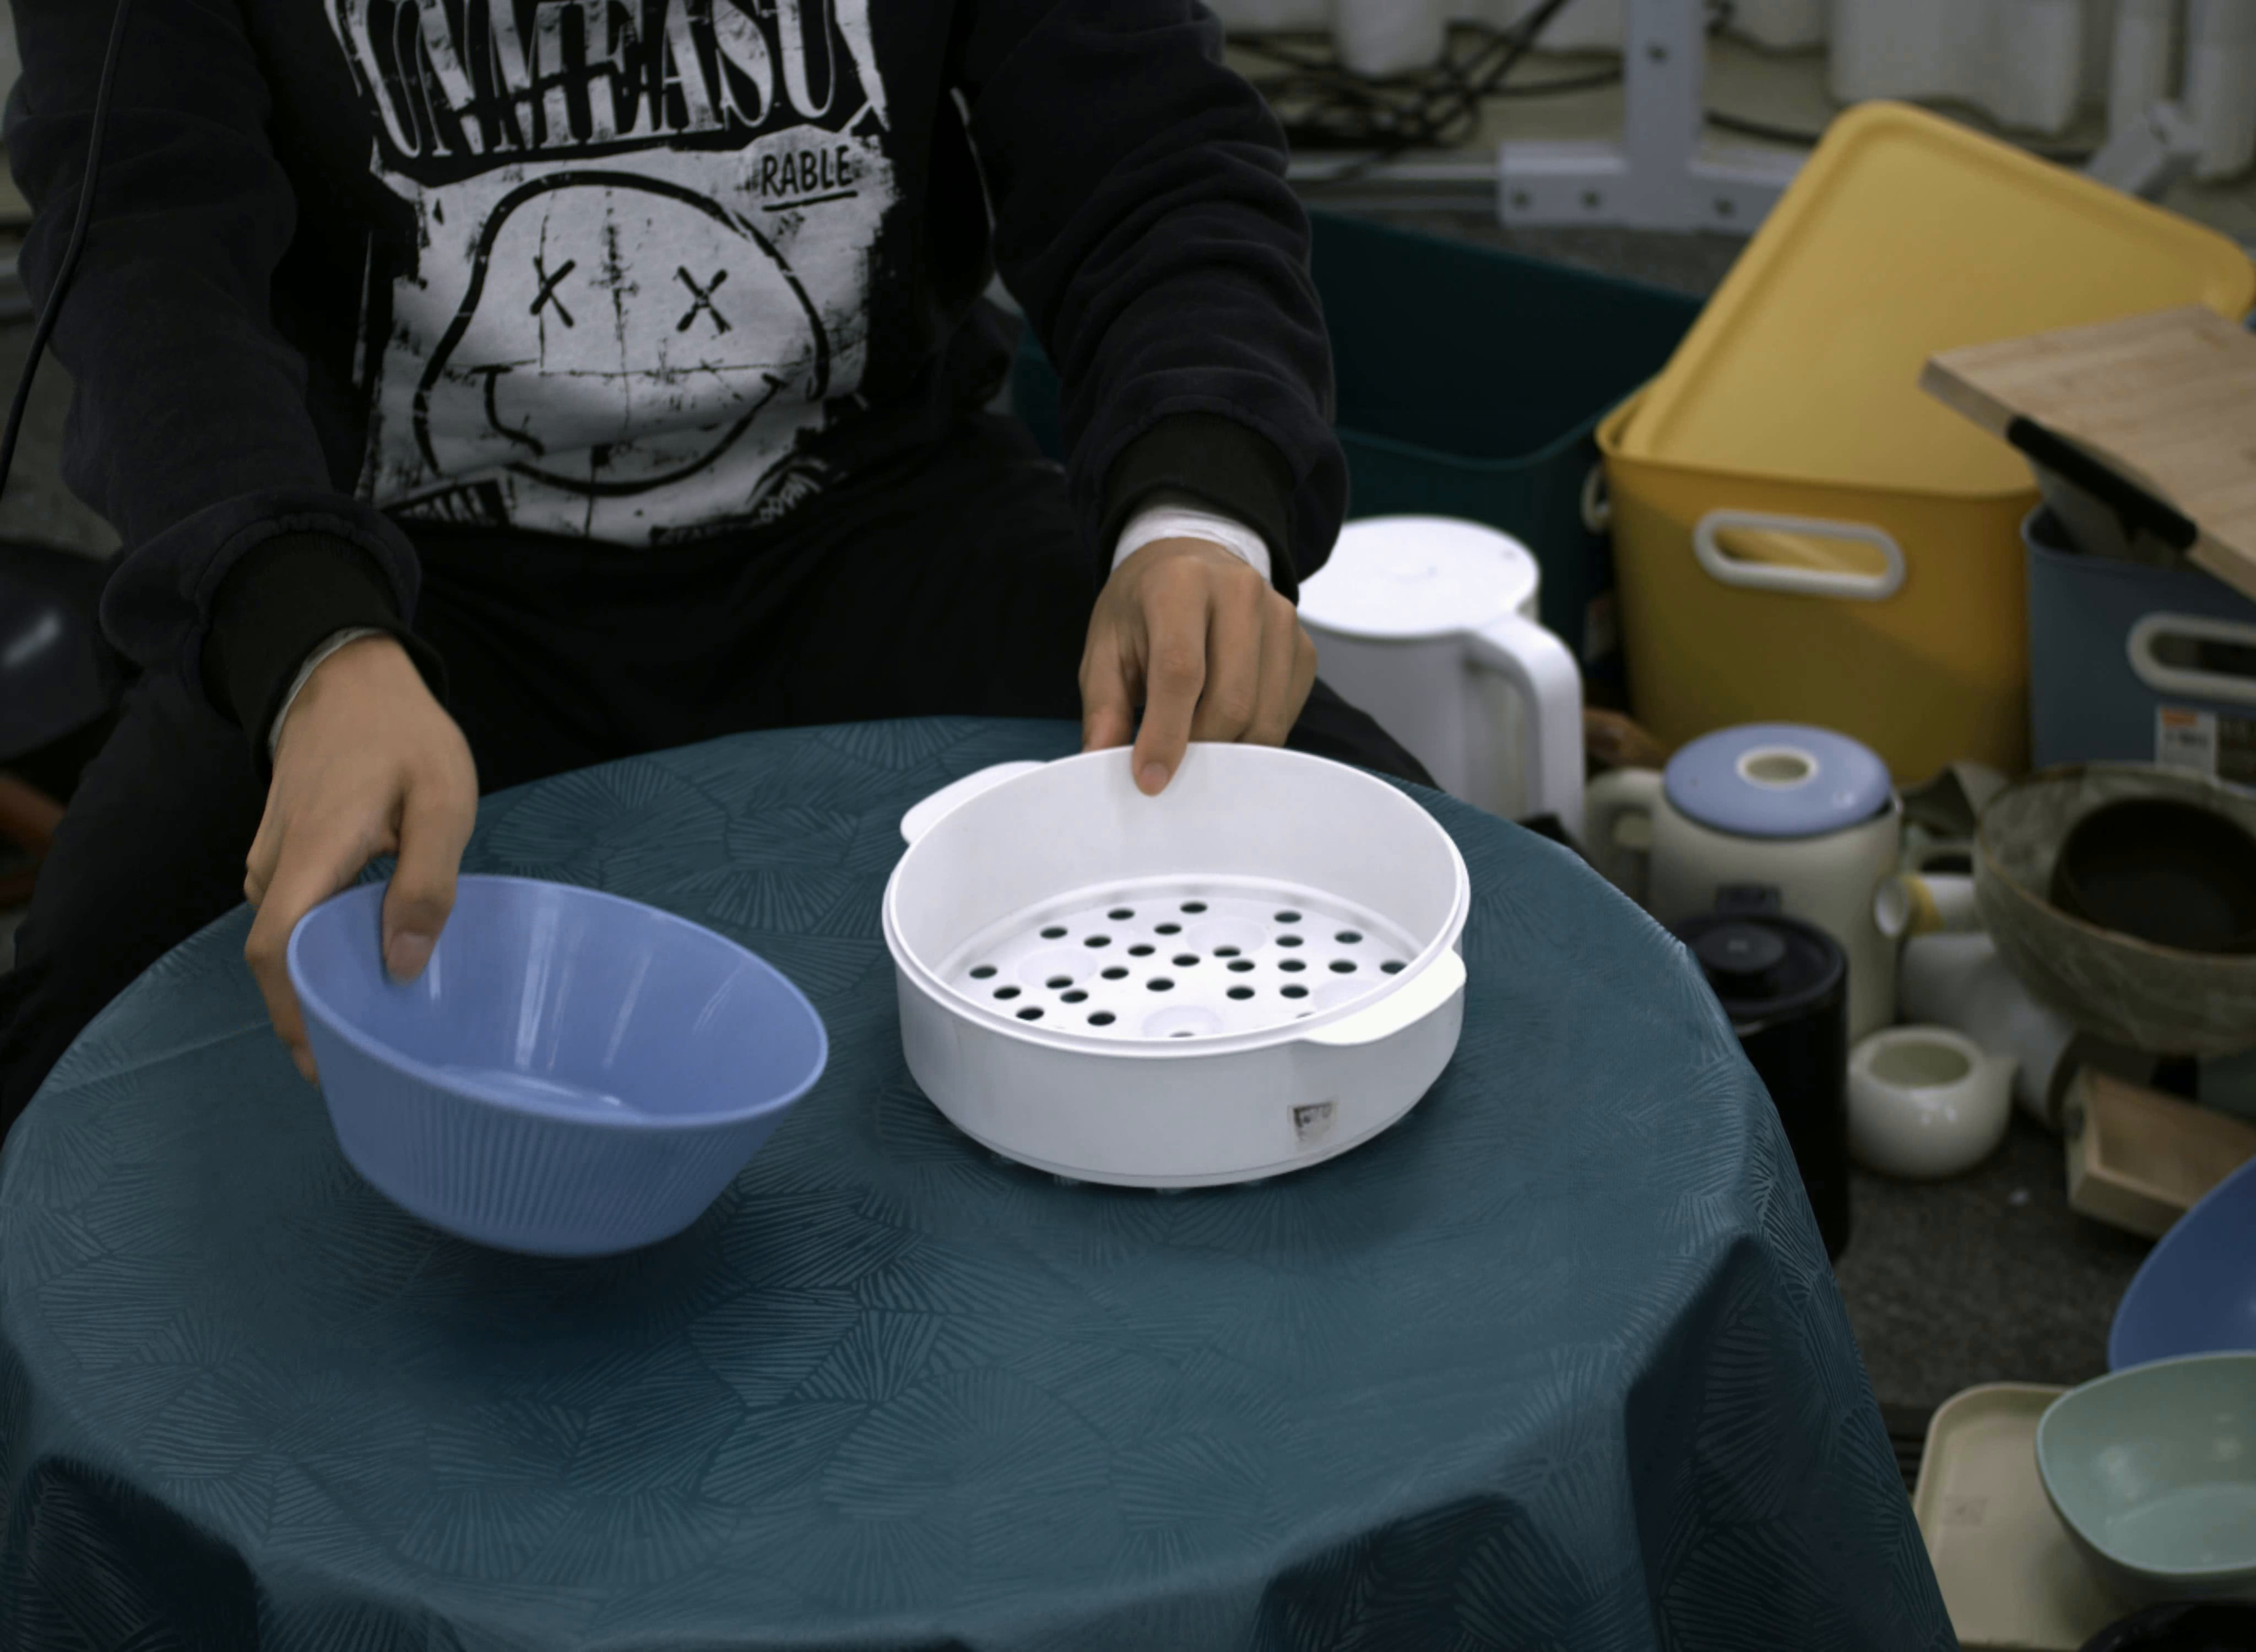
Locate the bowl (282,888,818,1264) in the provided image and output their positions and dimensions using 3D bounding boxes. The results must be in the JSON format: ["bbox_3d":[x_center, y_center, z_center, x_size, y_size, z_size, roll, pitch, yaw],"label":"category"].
[{"bbox_3d":[-0.192,0.086,1.816,0.175,0.069,0.178,13,21,-4],"label":"bowl"}]

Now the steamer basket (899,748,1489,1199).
[{"bbox_3d":[0.023,0.051,1.918,0.230,0.068,0.204,26,40,37],"label":"steamer basket"}]
